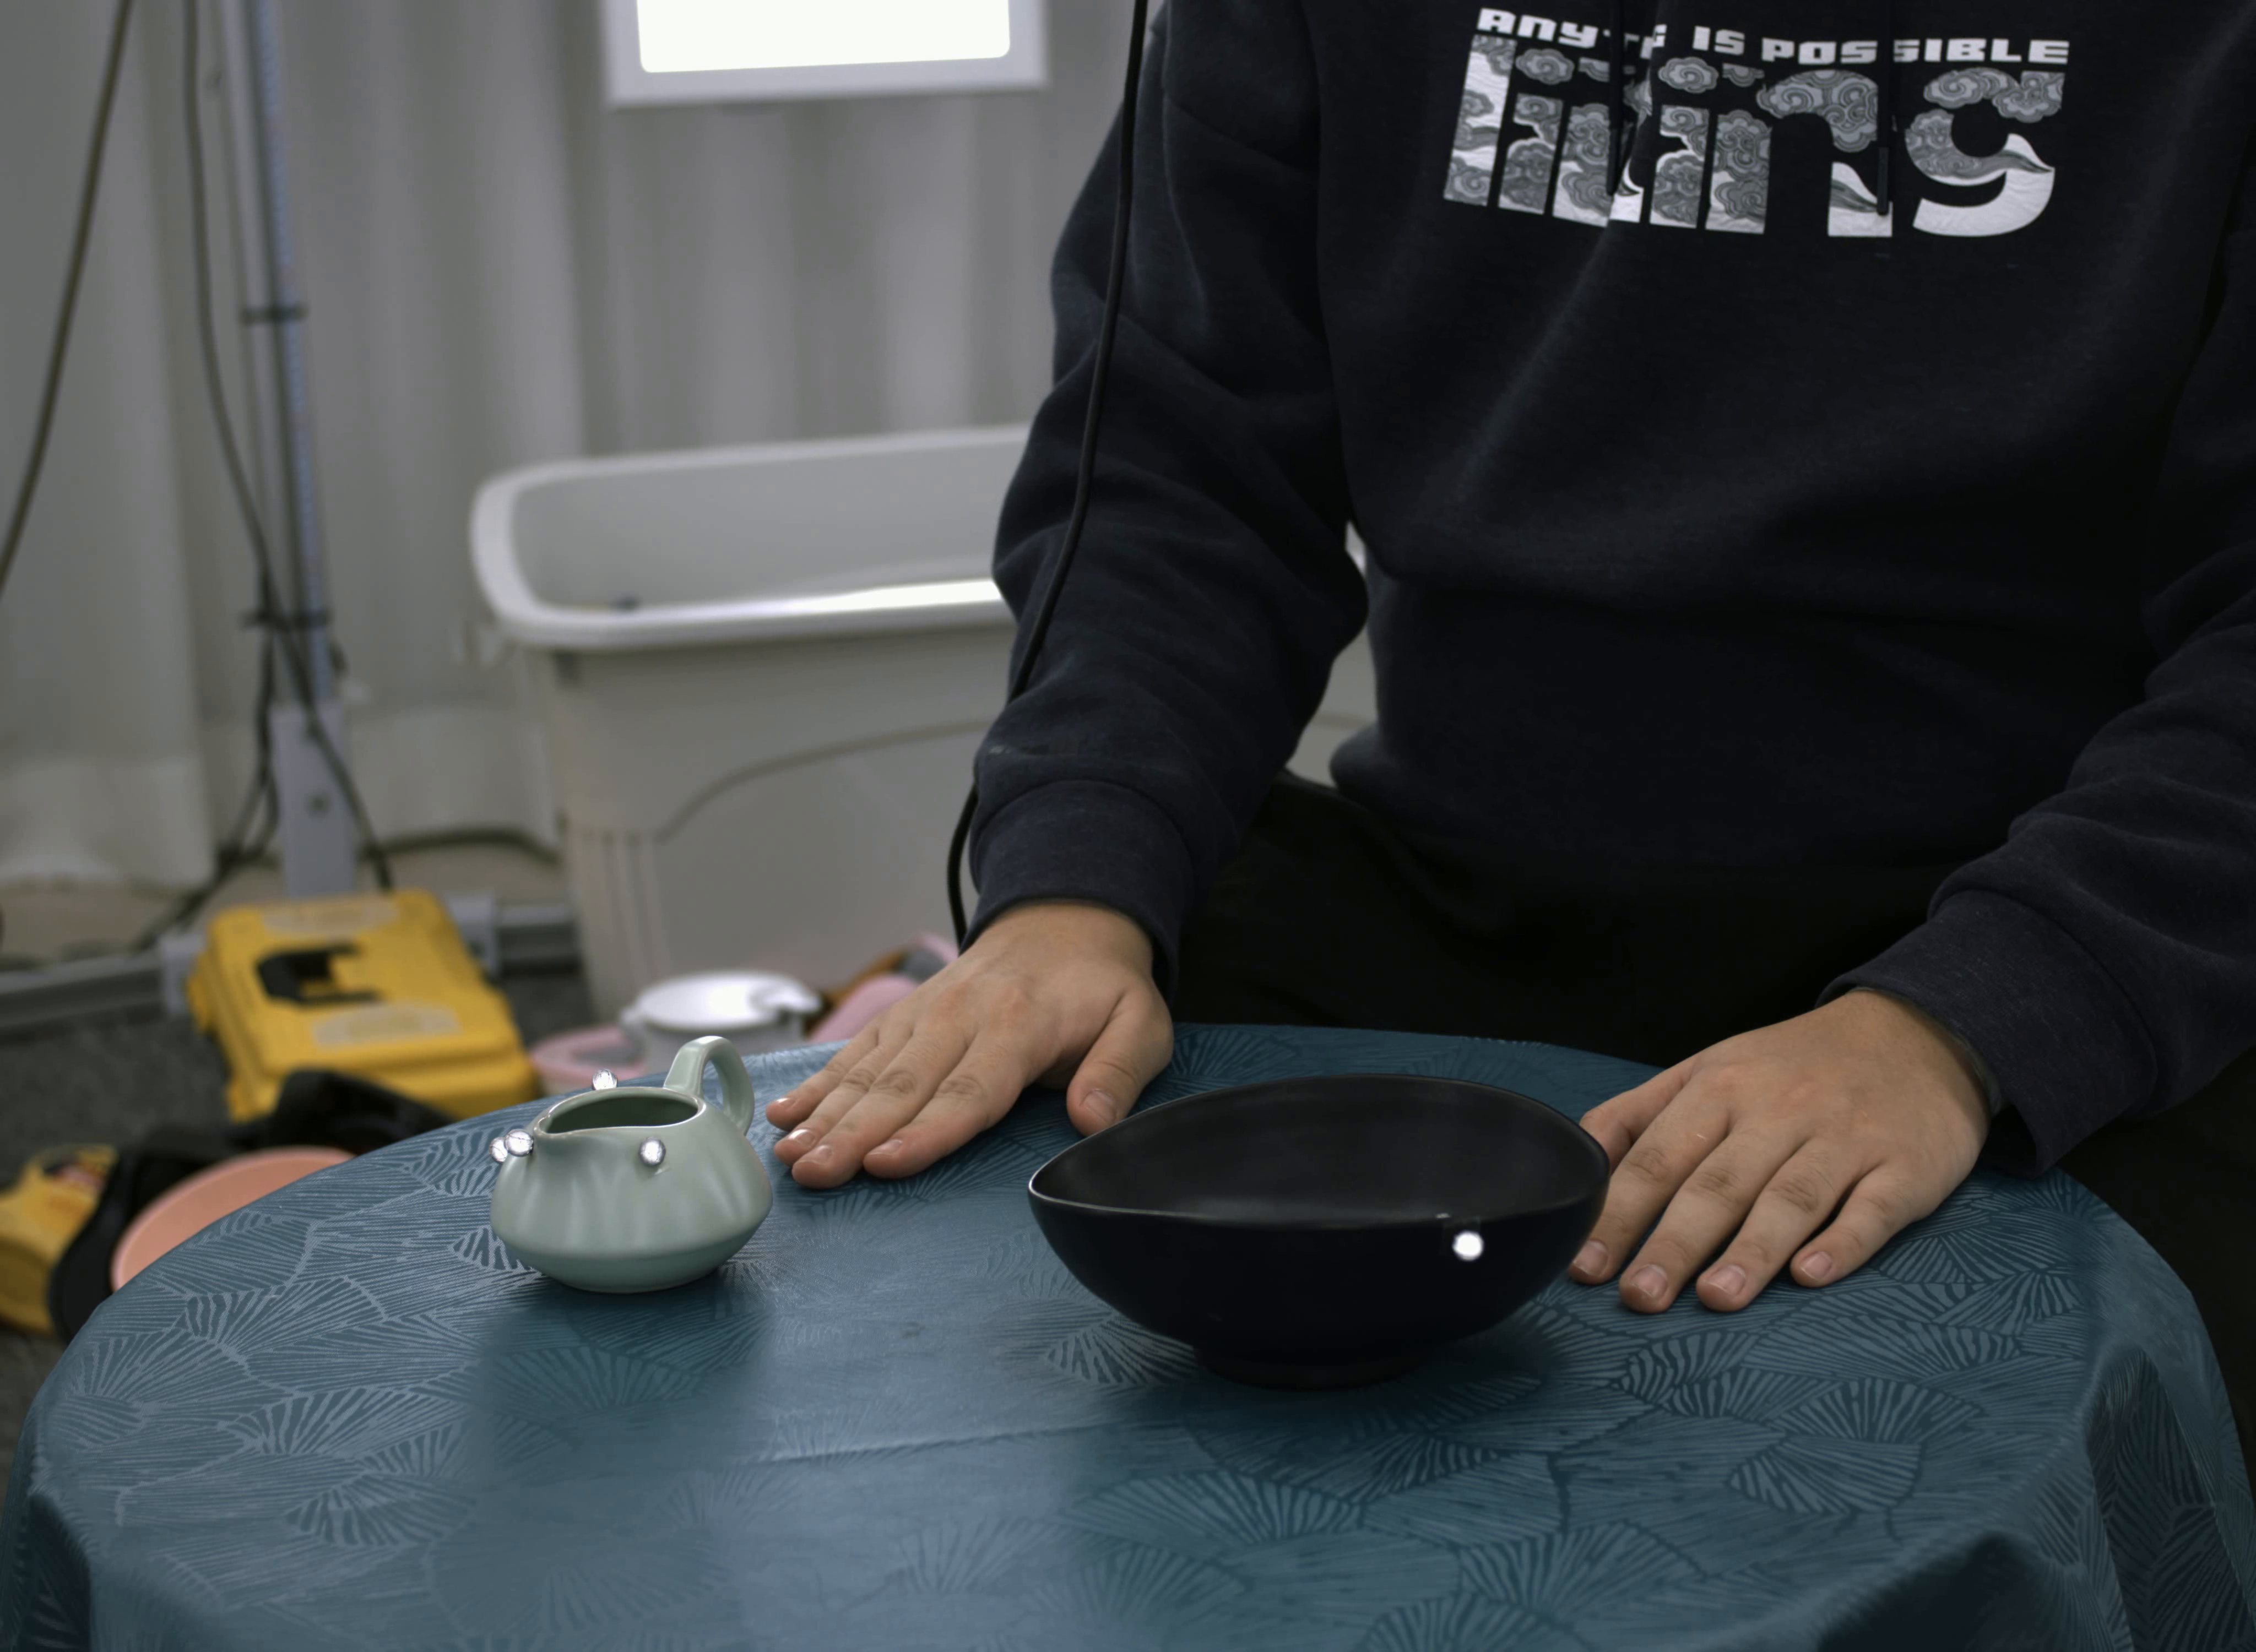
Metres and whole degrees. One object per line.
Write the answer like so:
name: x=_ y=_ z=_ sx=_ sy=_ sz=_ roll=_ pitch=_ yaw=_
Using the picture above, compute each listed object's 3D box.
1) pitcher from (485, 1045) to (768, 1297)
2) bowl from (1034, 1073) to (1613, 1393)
pitcher: x=-0.147 y=0.106 z=1.670 sx=0.086 sy=0.060 sz=0.108 roll=6 pitch=15 yaw=26
bowl: x=0.055 y=0.121 z=1.562 sx=0.170 sy=0.066 sz=0.138 roll=1 pitch=14 yaw=17
